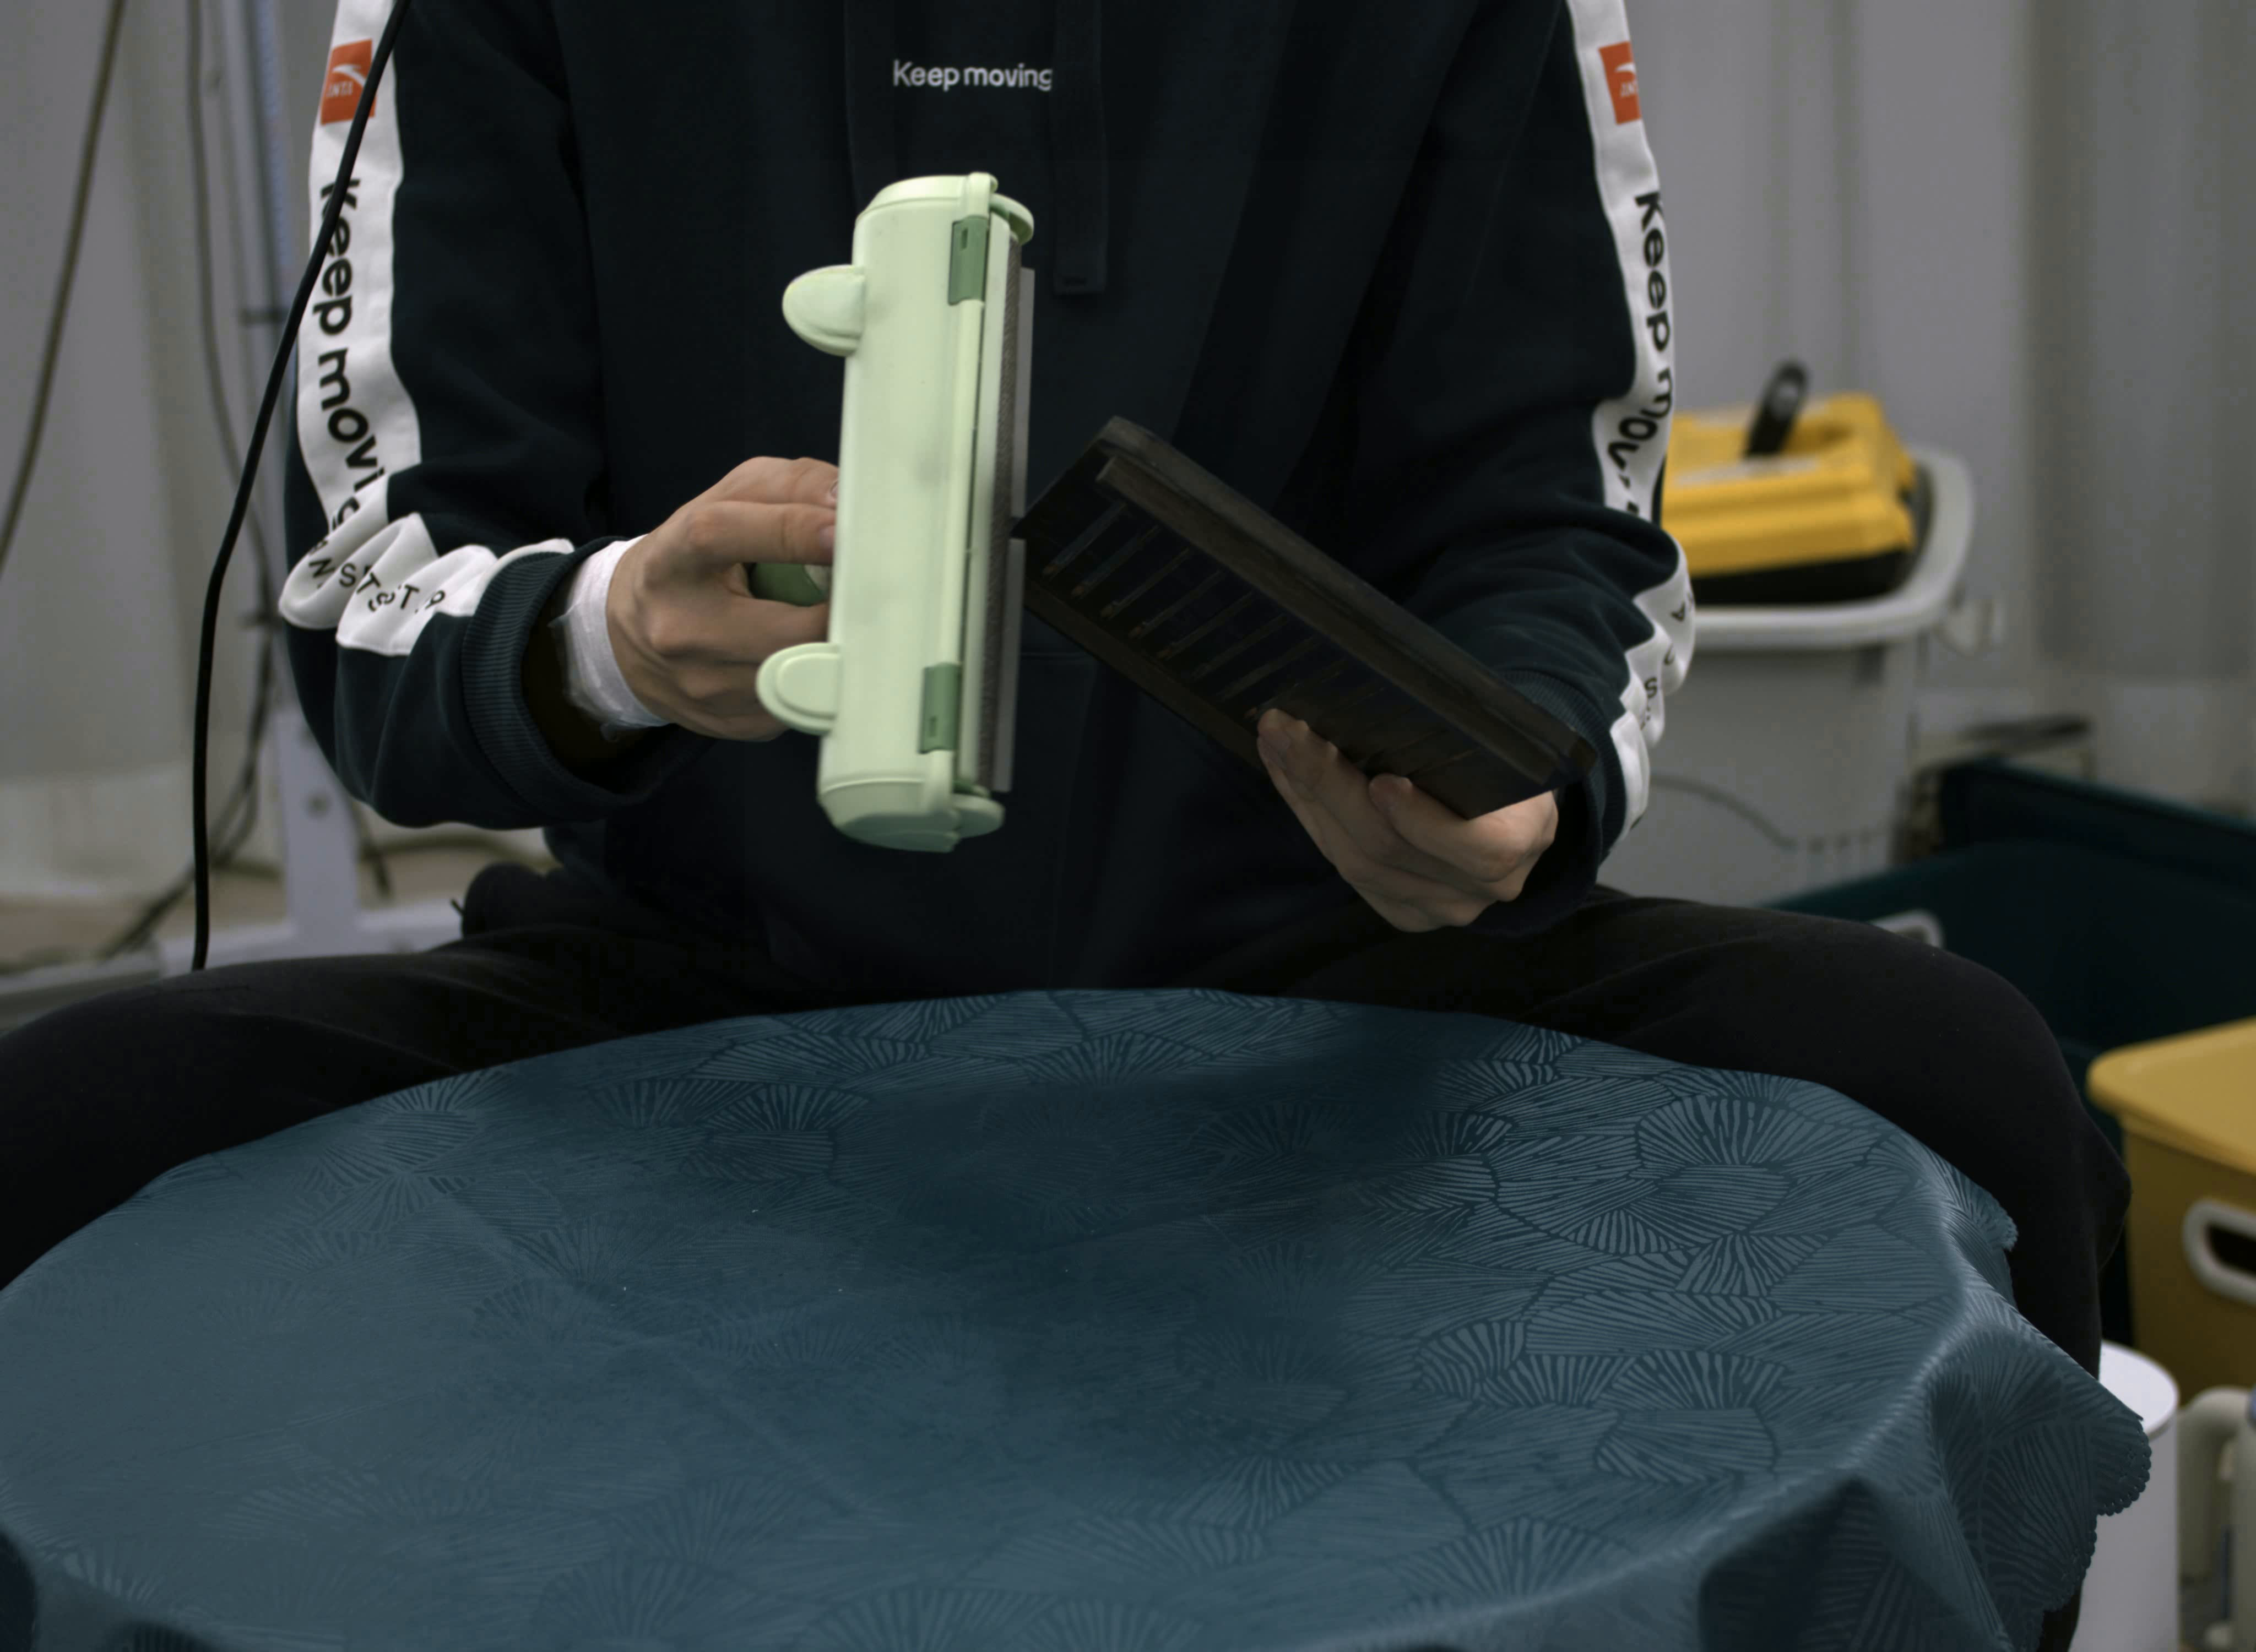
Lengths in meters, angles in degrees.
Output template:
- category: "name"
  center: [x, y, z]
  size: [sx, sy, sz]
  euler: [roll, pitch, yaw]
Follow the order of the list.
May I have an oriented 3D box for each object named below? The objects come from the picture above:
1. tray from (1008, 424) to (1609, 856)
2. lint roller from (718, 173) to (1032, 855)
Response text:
- category: "tray"
  center: [0.044, -0.050, 1.682]
  size: [0.169, 0.019, 0.305]
  euler: [35, -8, -4]
- category: "lint roller"
  center: [-0.098, -0.084, 1.654]
  size: [0.081, 0.200, 0.183]
  euler: [13, -17, -33]
